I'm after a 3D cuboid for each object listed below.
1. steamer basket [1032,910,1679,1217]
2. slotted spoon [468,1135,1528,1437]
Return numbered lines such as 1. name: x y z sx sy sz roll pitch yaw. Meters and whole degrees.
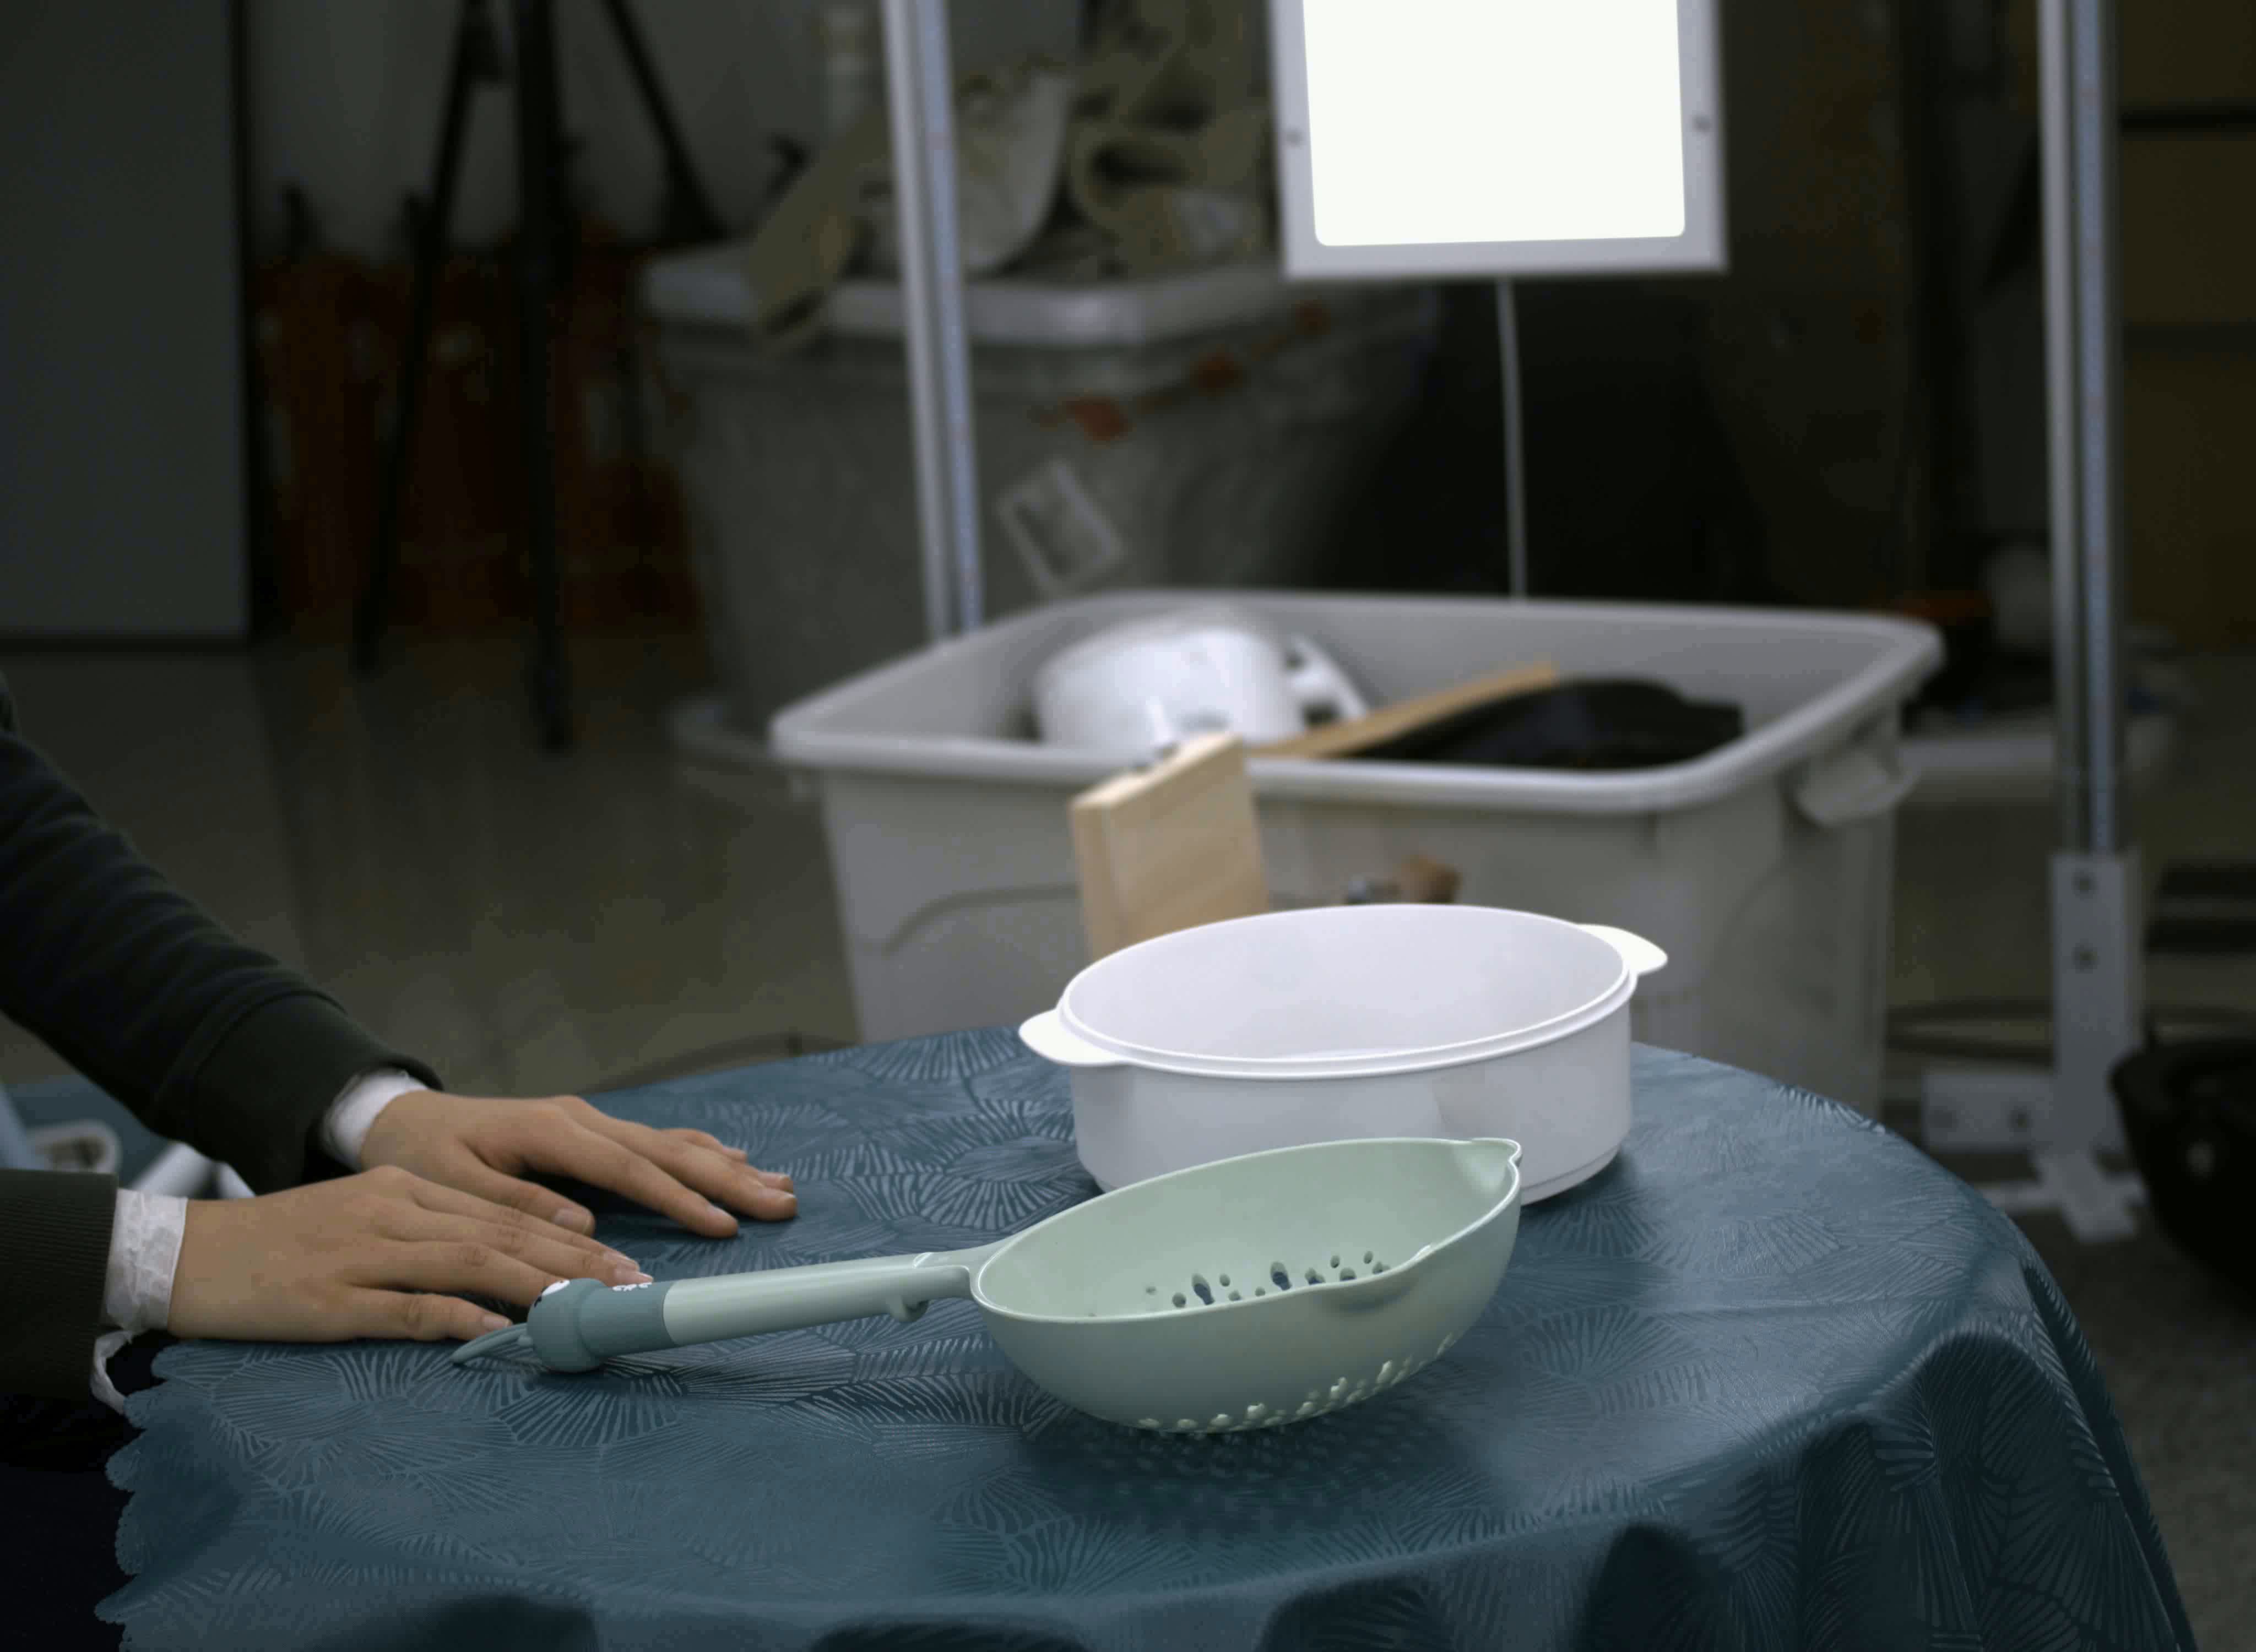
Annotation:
1. steamer basket: 0.082 0.085 1.901 0.227 0.069 0.204 -9 14 -17
2. slotted spoon: -0.049 0.144 1.707 0.364 0.075 0.166 1 14 23
